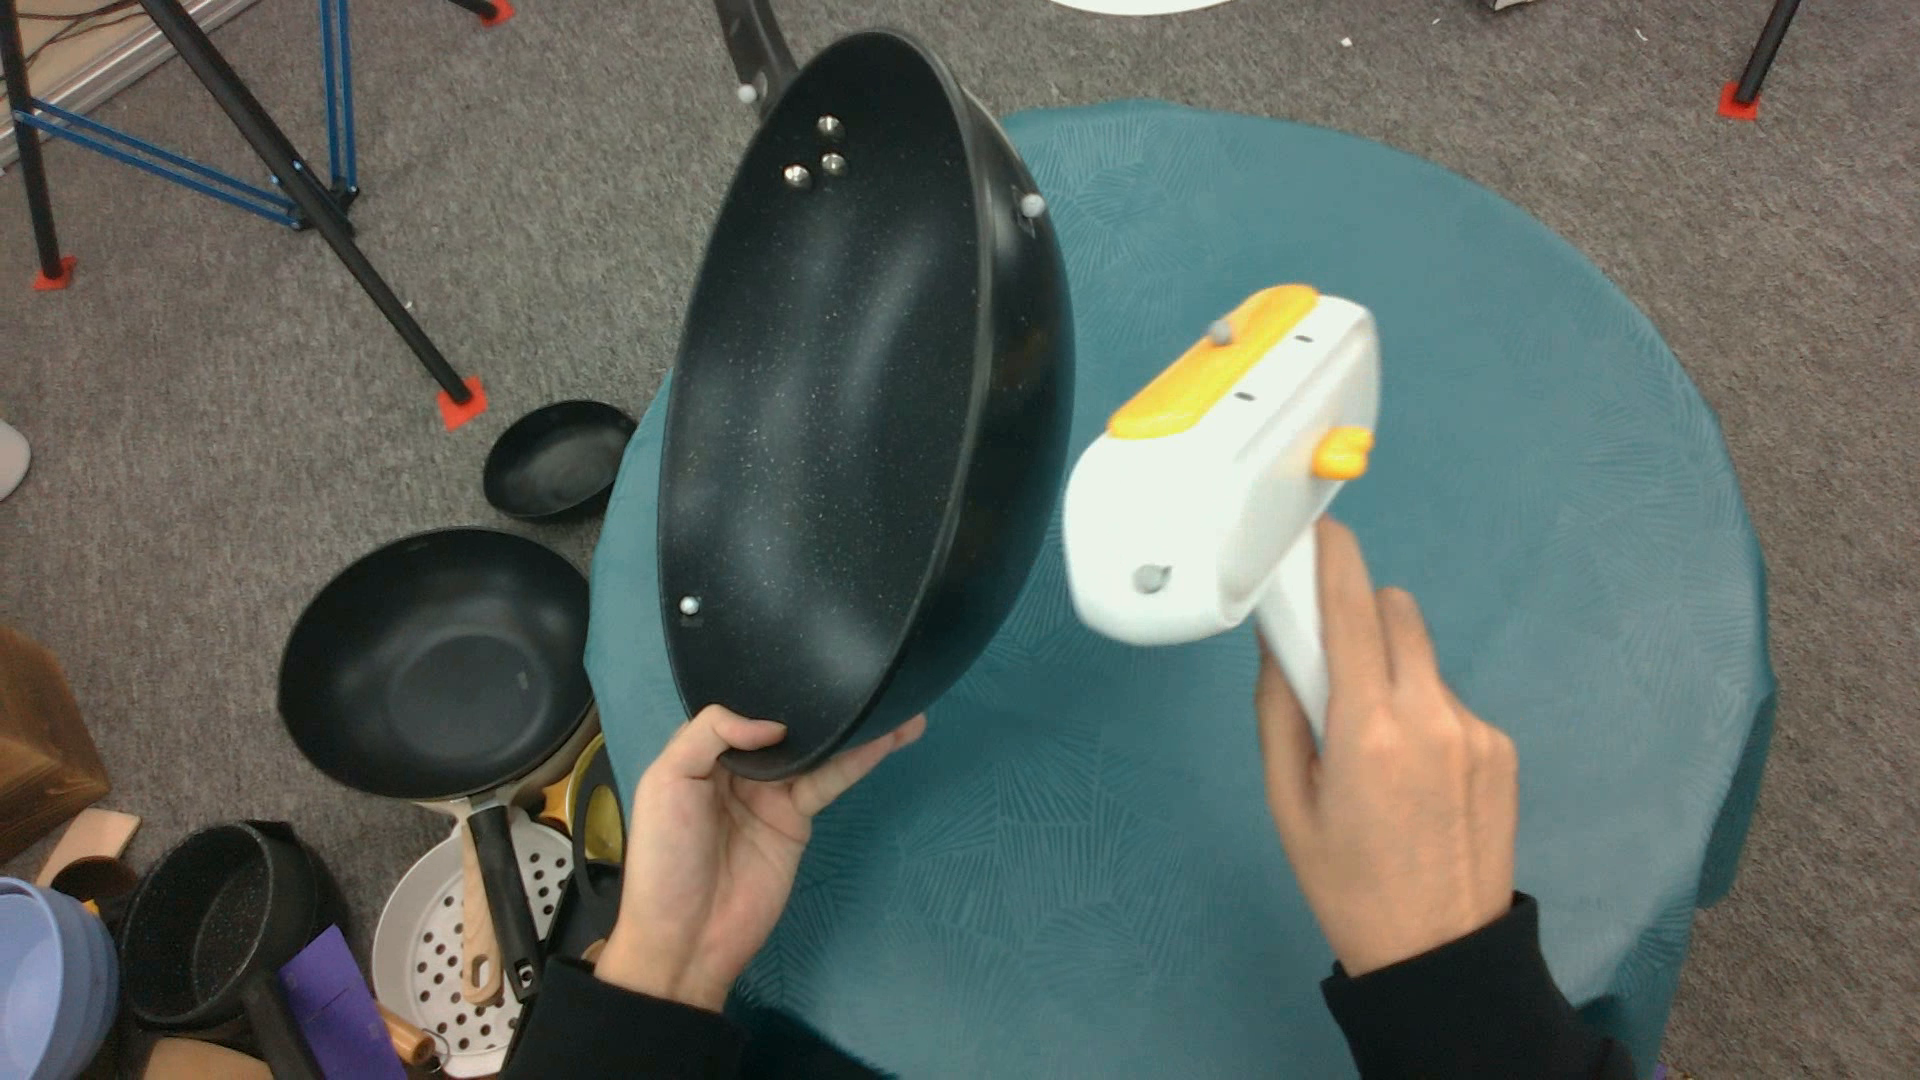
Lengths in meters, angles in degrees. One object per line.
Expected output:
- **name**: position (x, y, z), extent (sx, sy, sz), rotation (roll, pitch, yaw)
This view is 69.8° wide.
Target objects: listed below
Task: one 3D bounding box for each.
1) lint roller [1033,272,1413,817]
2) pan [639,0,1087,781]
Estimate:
- **lint roller**: position (0.106, 0.017, 0.483), extent (0.074, 0.192, 0.194), rotation (-11, 24, 29)
- **pan**: position (-0.058, -0.129, 0.620), extent (0.112, 0.308, 0.478), rotation (10, 60, -34)
